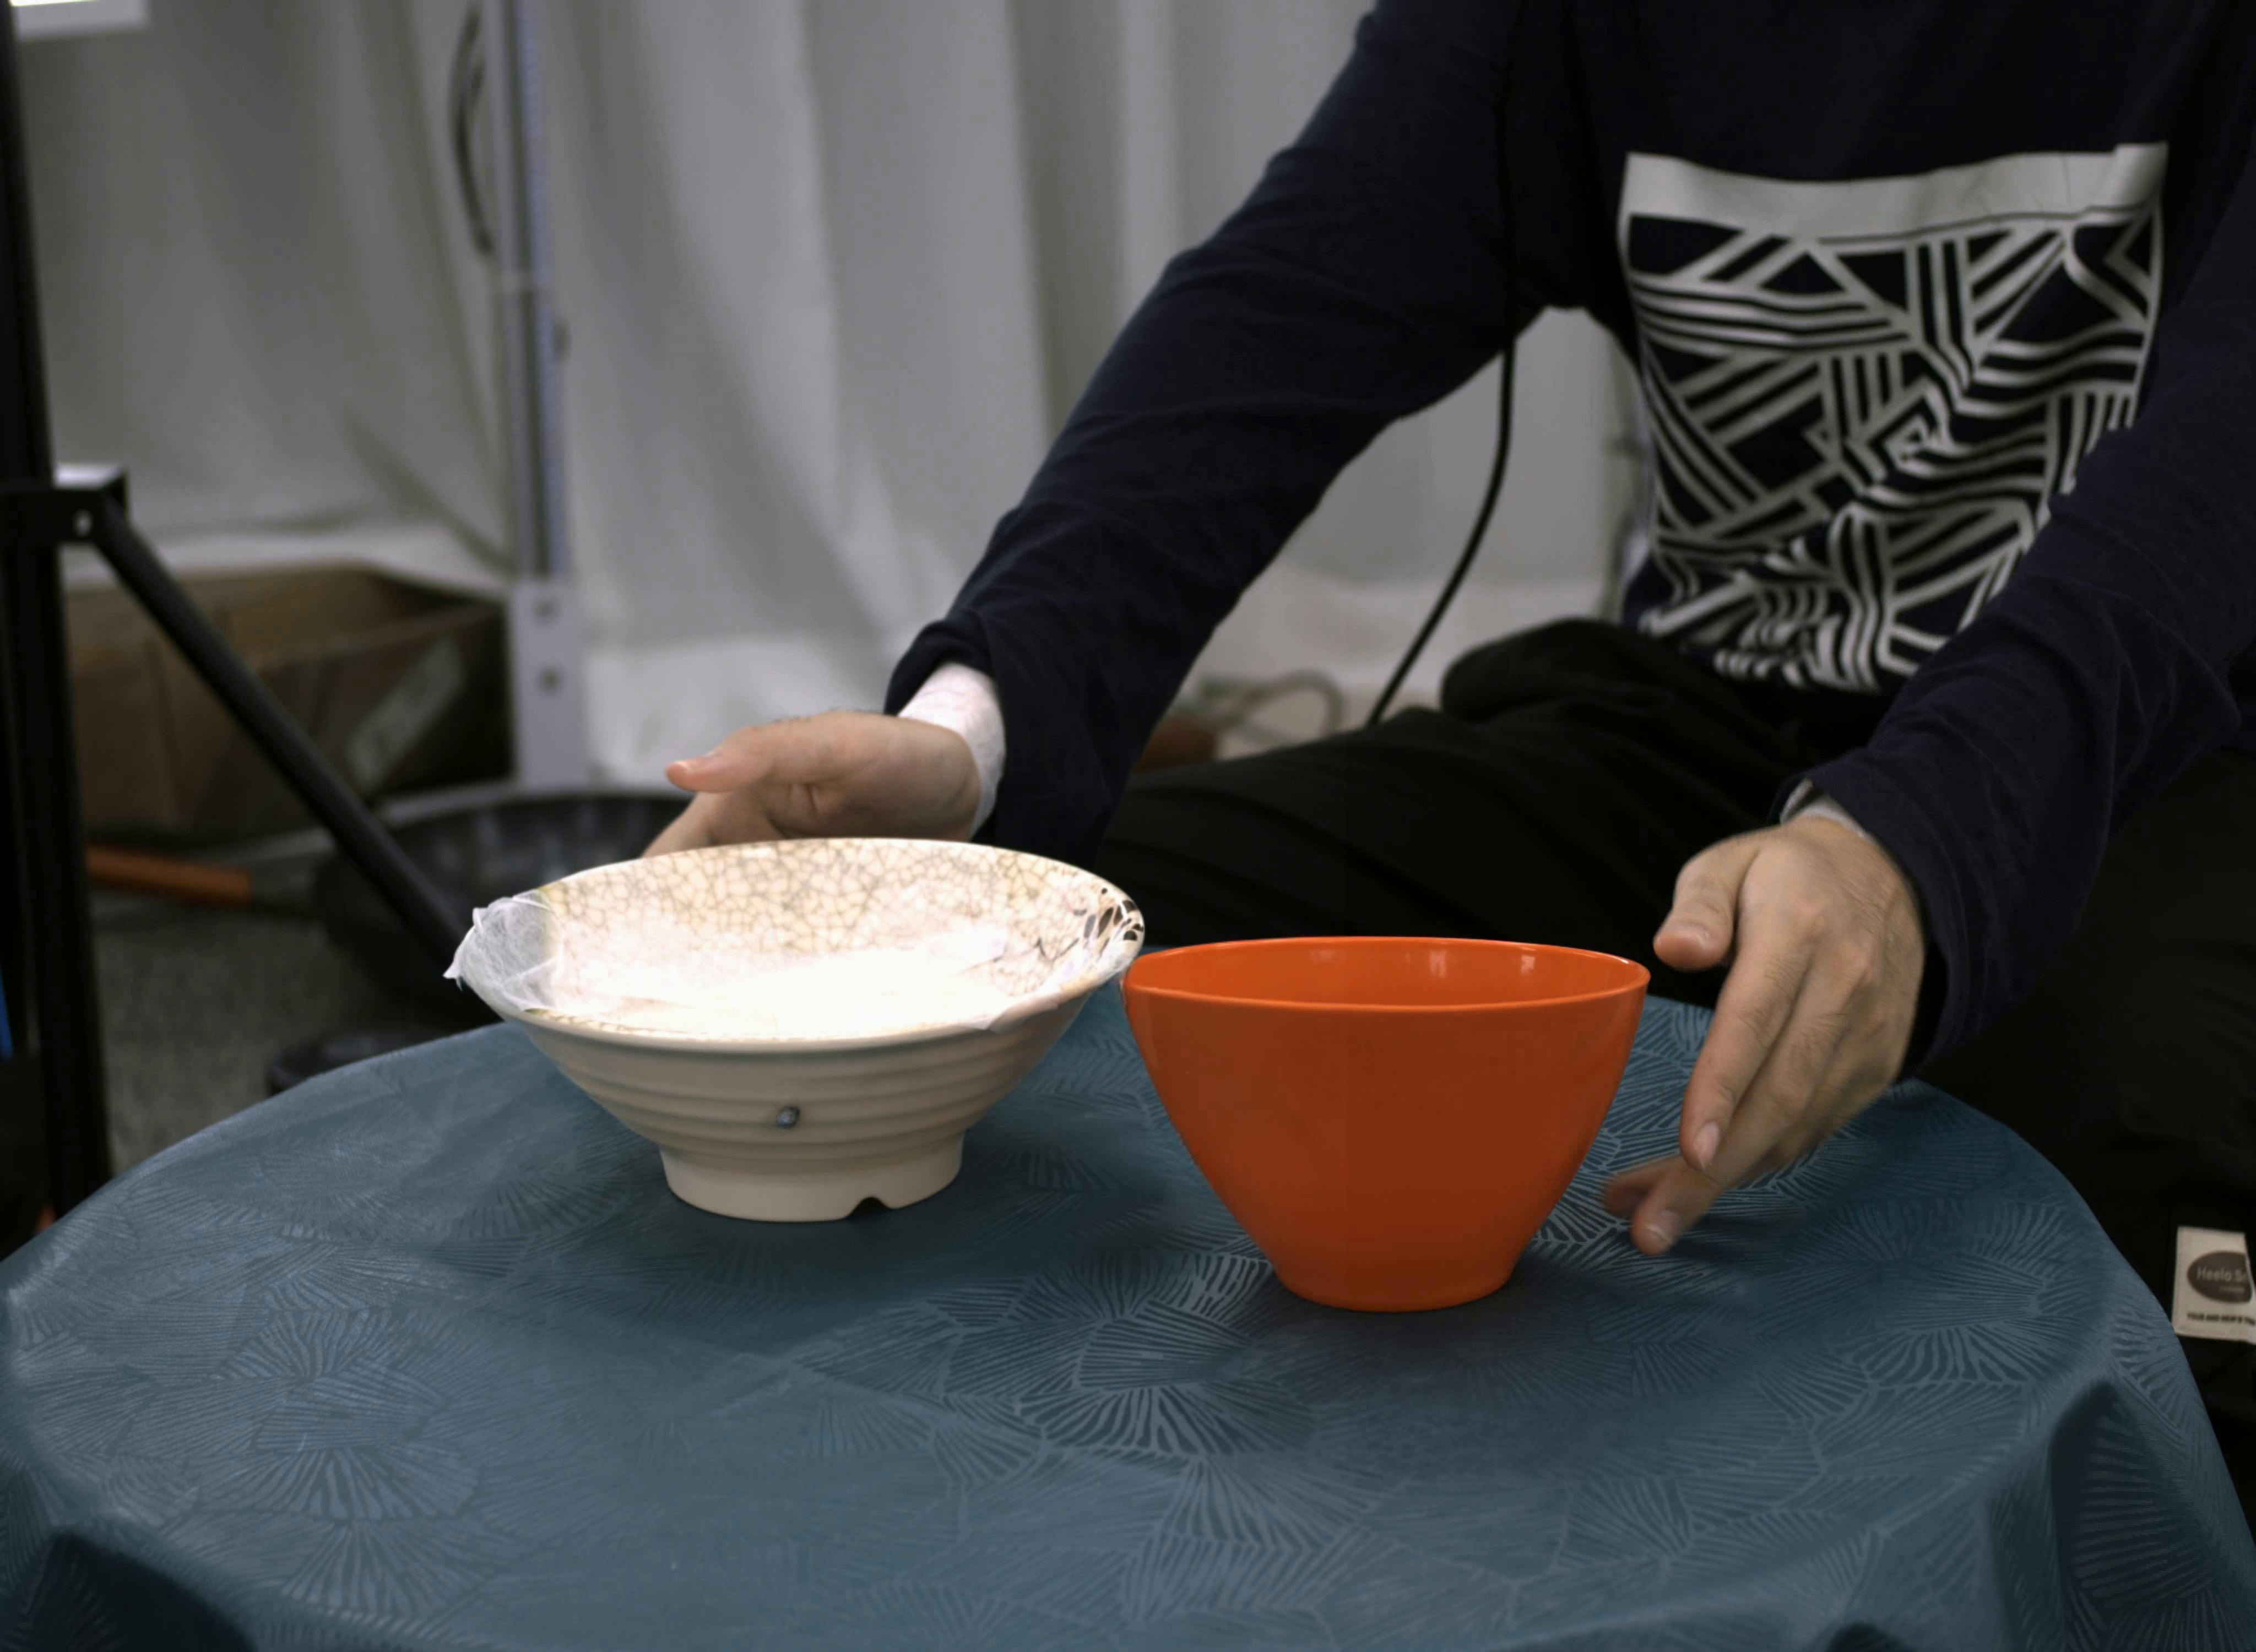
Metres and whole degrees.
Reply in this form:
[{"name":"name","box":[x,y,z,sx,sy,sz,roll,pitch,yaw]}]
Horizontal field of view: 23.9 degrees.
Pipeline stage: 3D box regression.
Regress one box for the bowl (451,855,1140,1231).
[{"name":"bowl","box":[-0.099,0.070,1.581,0.203,0.078,0.205,1,13,-2]}]

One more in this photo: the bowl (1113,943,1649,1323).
[{"name":"bowl","box":[0.070,0.081,1.464,0.147,0.105,0.149,-2,14,-1]}]
